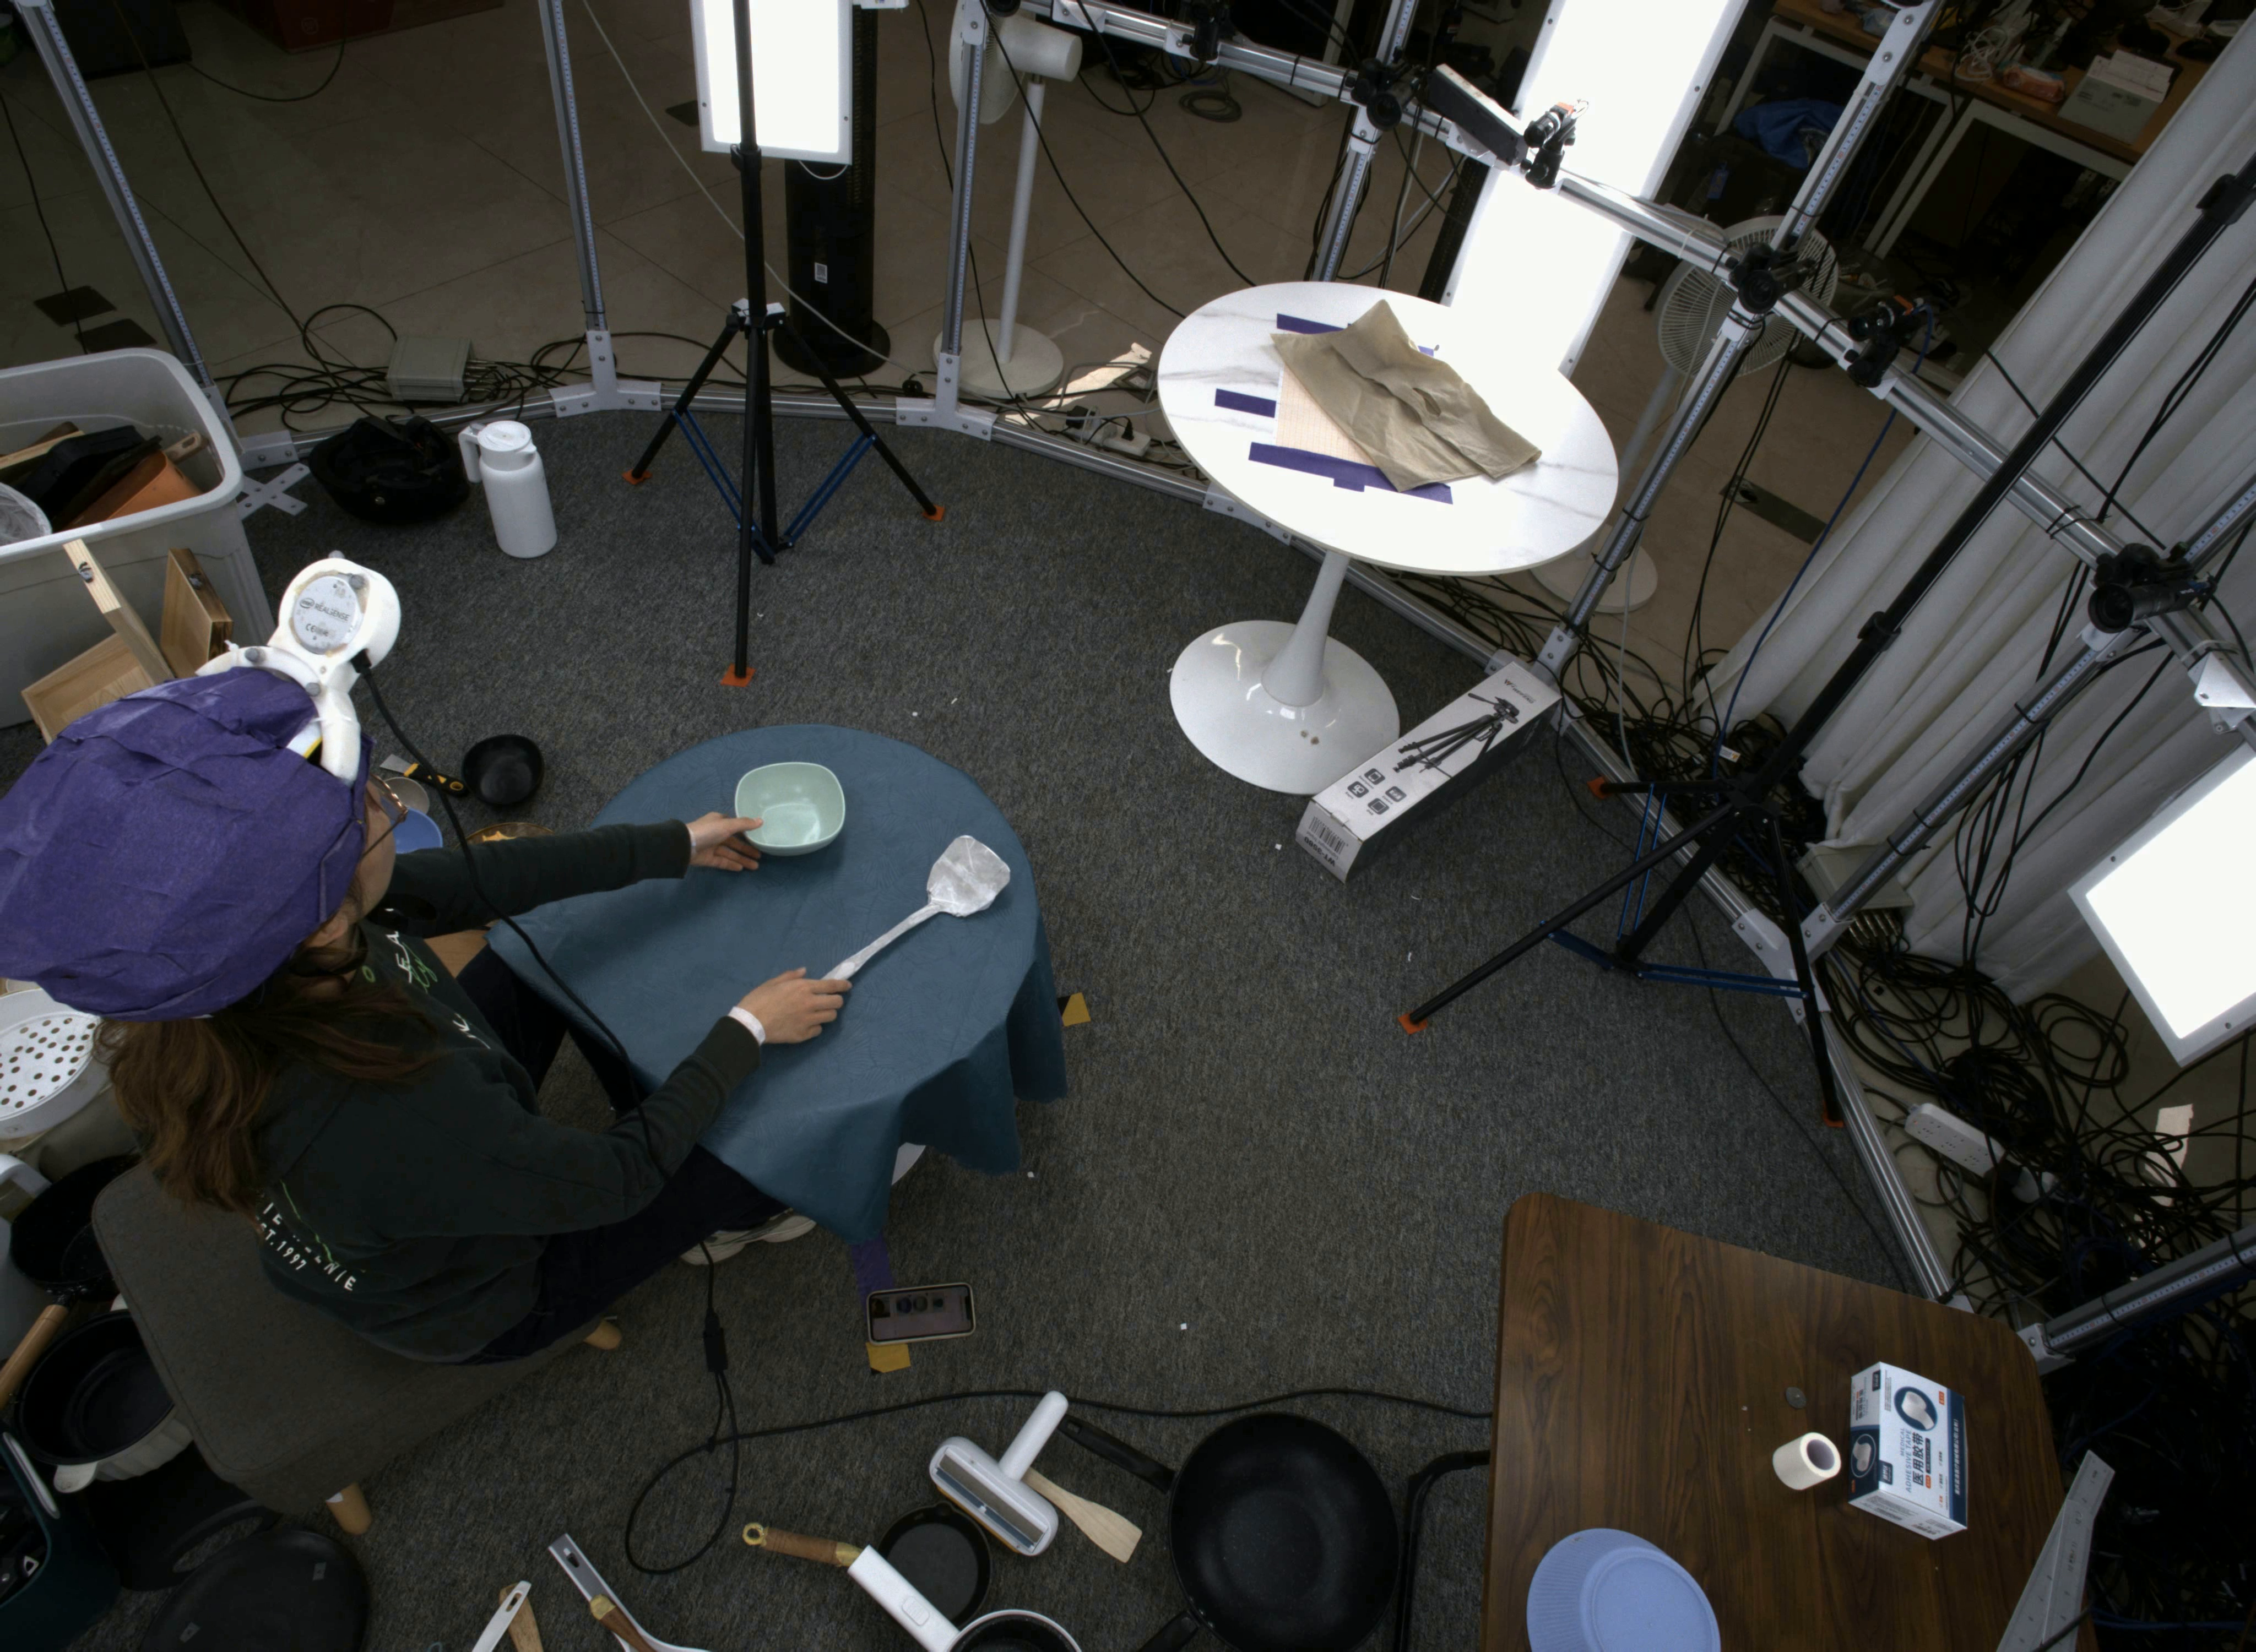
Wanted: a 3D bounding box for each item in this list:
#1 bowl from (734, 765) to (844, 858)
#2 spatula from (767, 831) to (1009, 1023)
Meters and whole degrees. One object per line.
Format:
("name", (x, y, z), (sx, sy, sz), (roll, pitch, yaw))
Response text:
("bowl", (-0.443, -0.011, 1.697), (0.151, 0.060, 0.148), (8, 49, -8))
("spatula", (-0.302, 0.133, 1.637), (0.097, 0.045, 0.365), (41, 55, 16))
